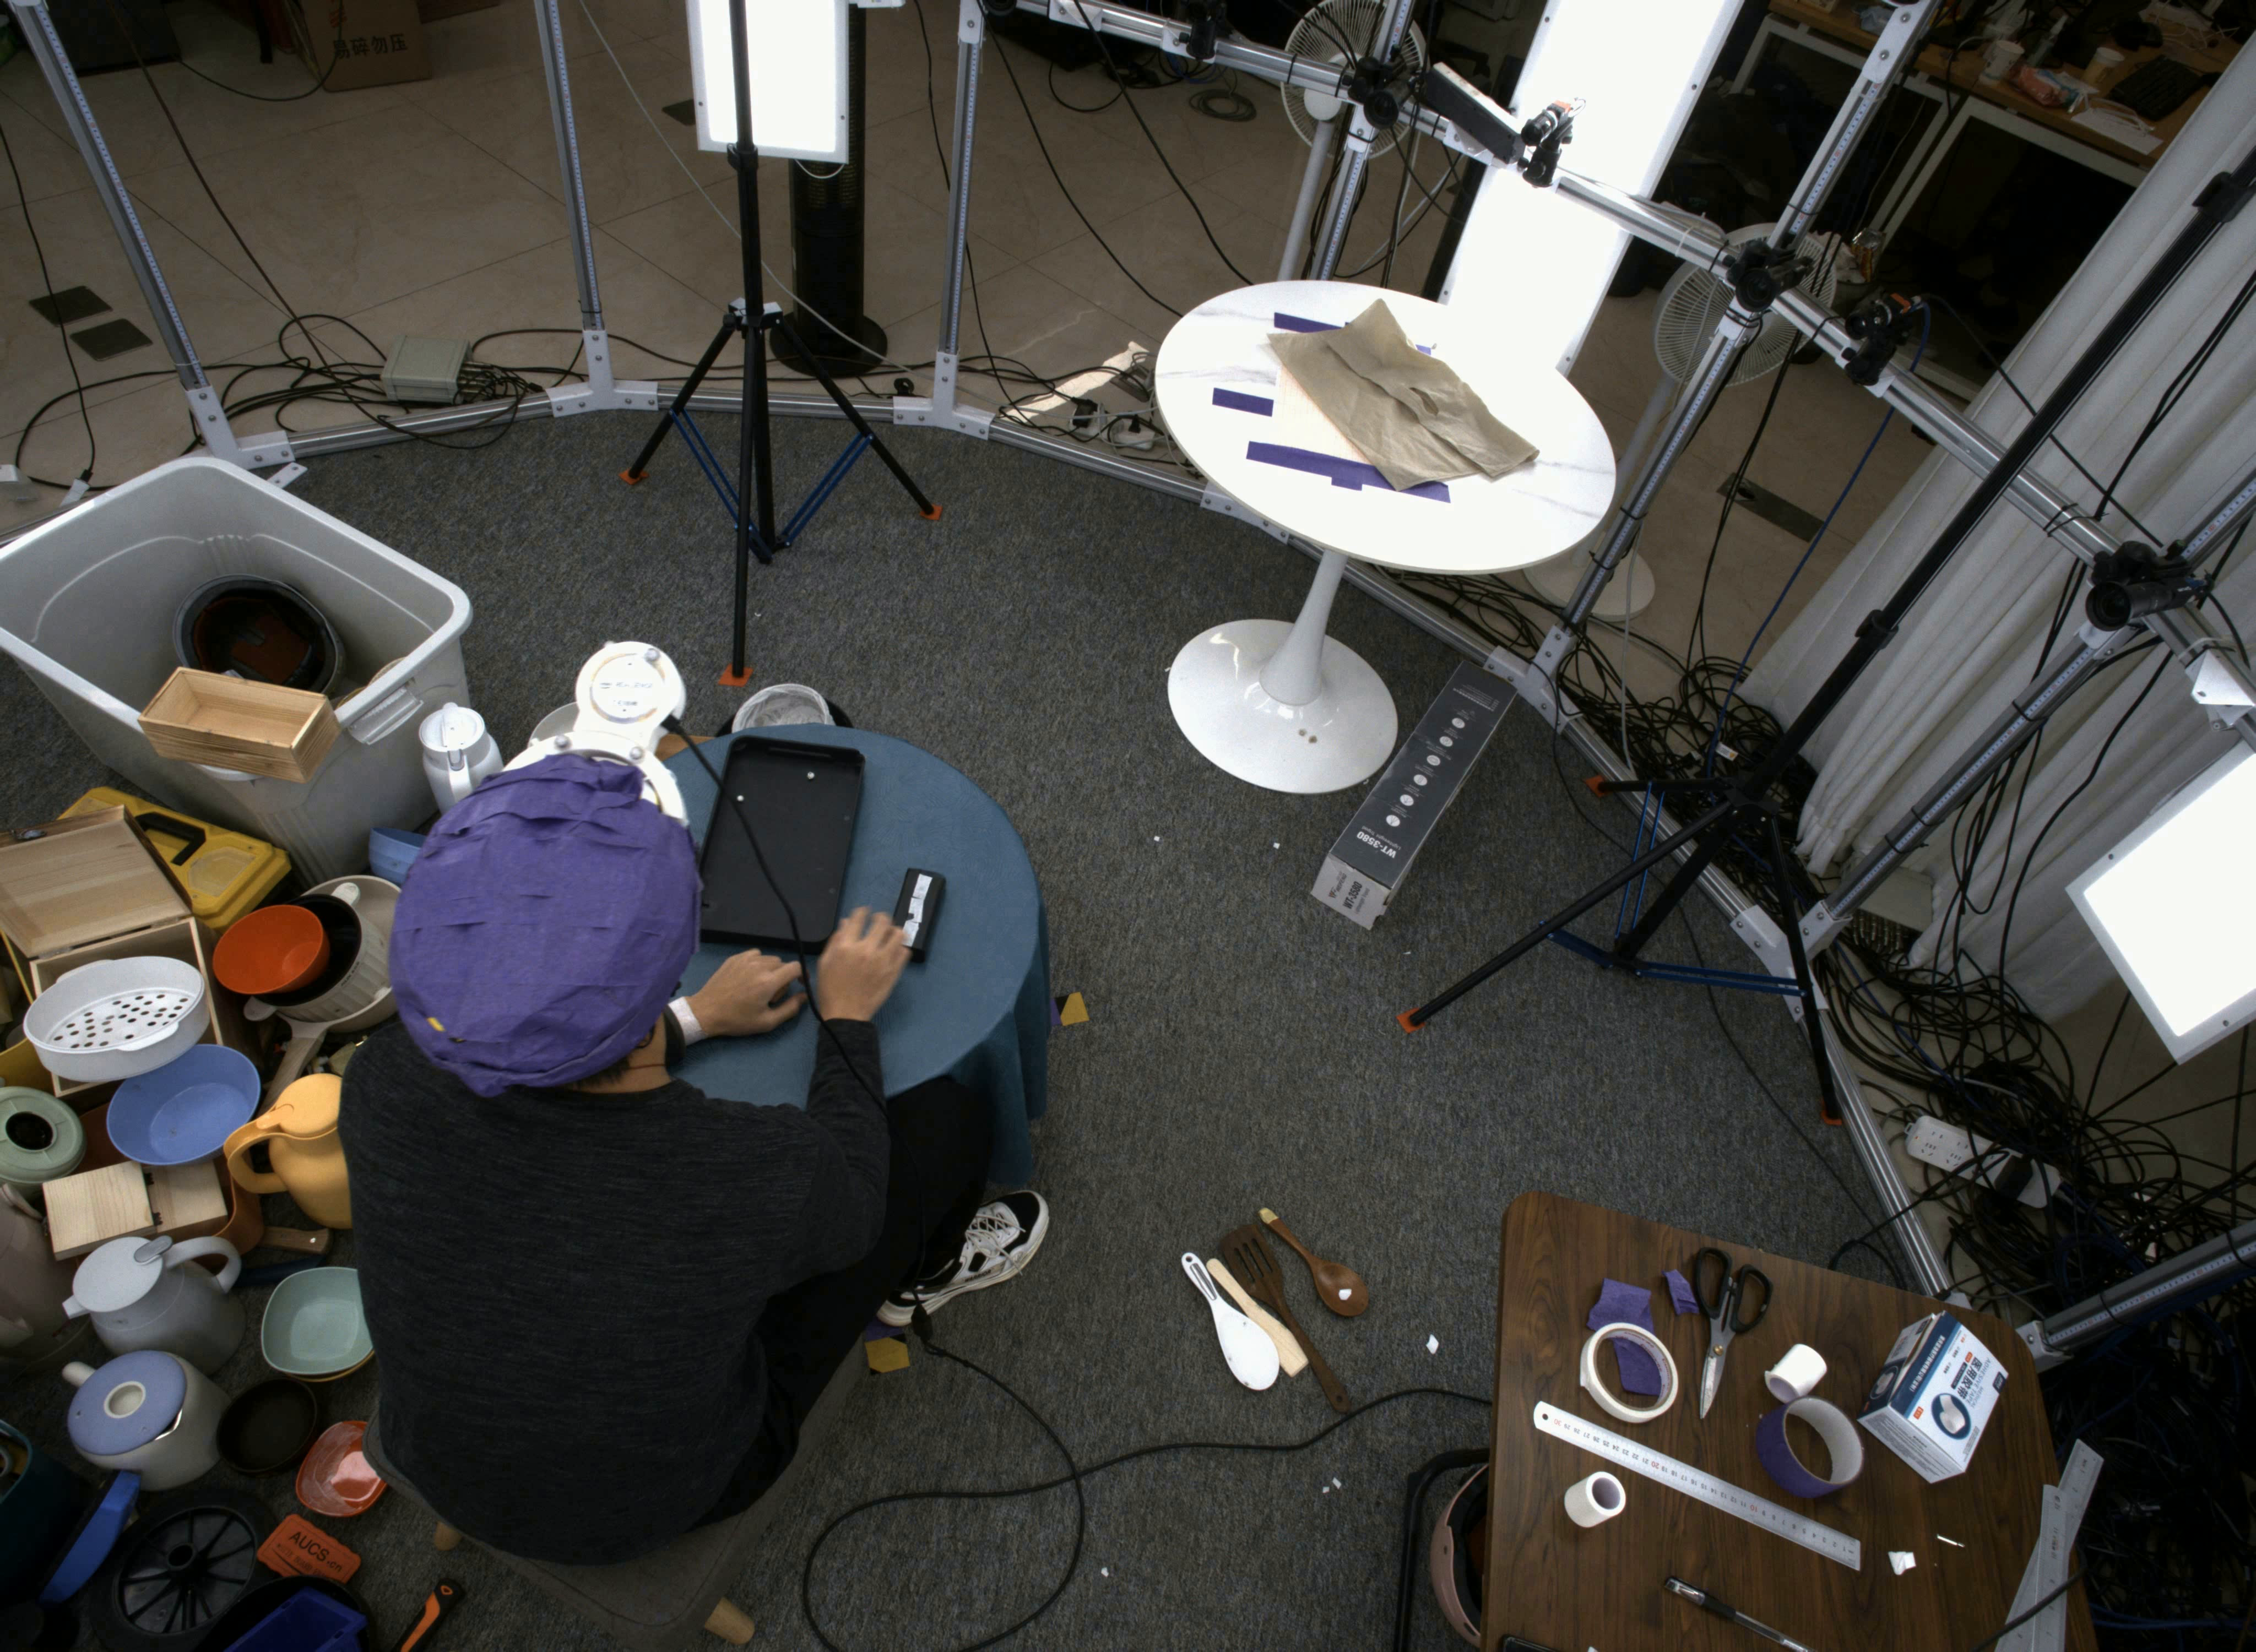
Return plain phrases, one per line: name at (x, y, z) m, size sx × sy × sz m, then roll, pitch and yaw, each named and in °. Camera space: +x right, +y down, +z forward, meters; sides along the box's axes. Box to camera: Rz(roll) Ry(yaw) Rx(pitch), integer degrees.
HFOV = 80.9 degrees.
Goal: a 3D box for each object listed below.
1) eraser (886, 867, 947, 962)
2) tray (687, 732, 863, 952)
eraser at (-0.269, 0.109, 1.660) m, size 0.053 × 0.031 × 0.123 m, roll 11°, pitch 53°, yaw -3°
tray at (-0.452, 0.014, 1.679) m, size 0.184 × 0.038 × 0.312 m, roll 6°, pitch 53°, yaw -10°
